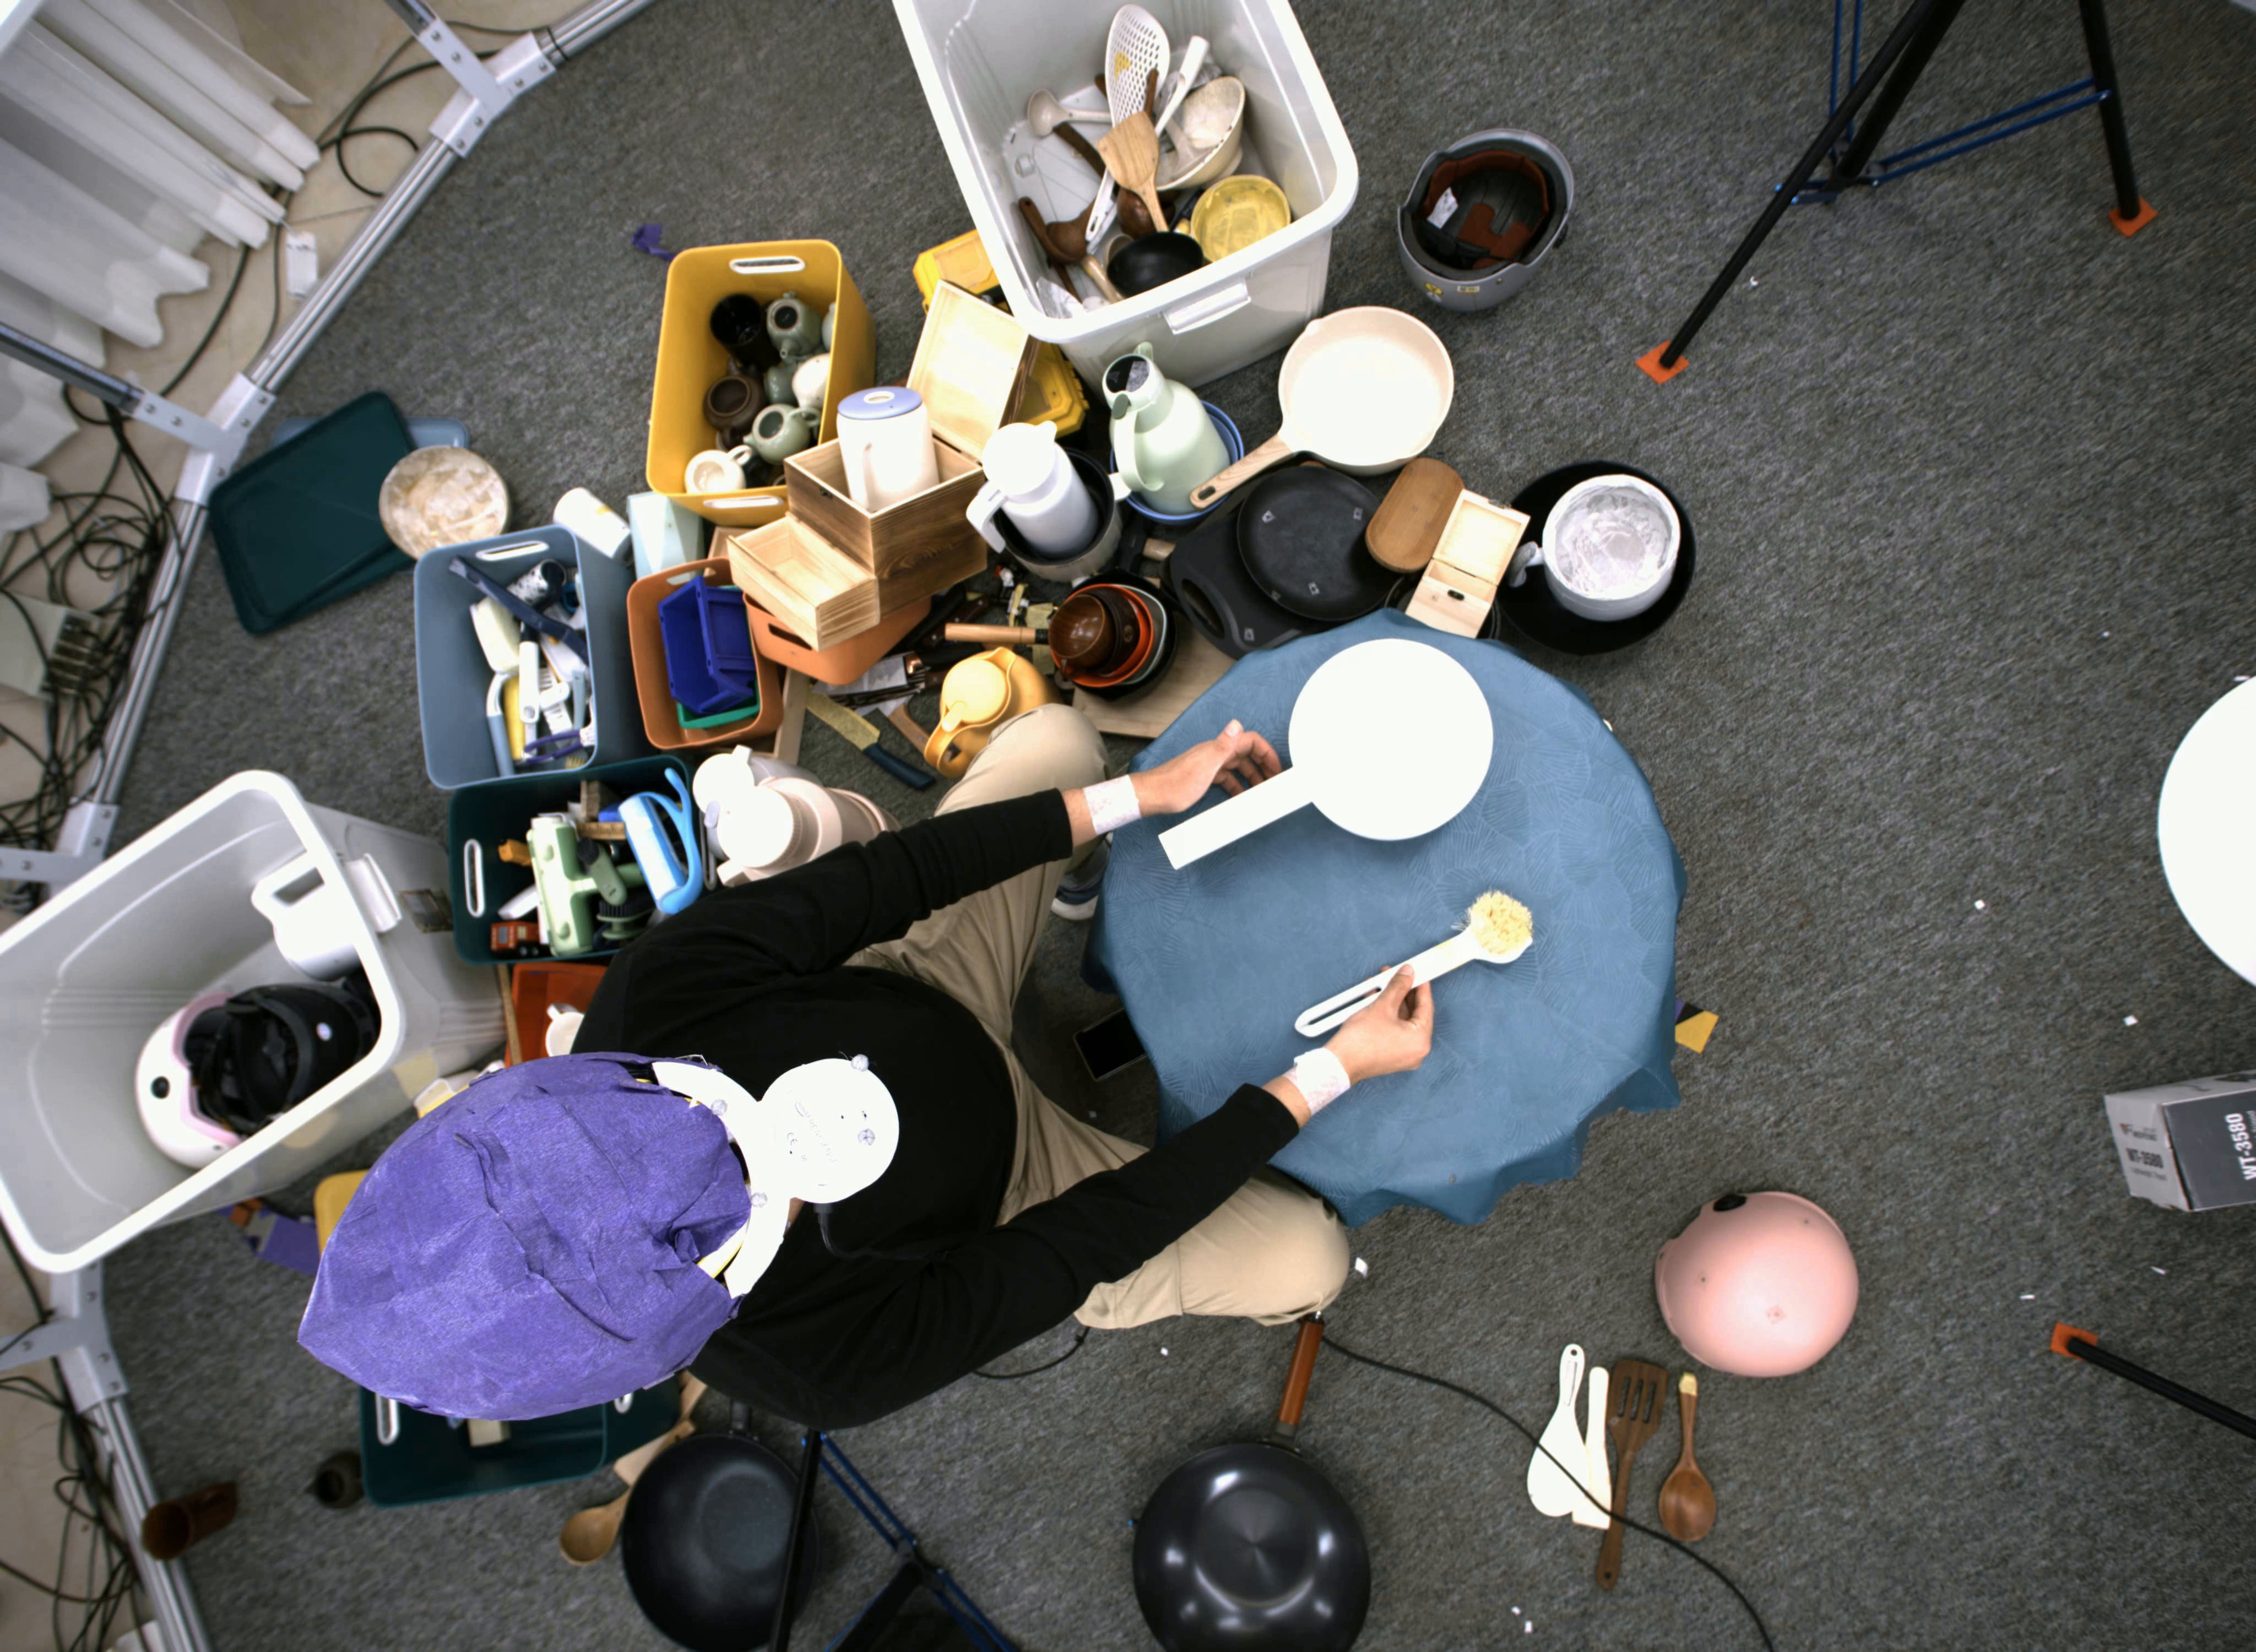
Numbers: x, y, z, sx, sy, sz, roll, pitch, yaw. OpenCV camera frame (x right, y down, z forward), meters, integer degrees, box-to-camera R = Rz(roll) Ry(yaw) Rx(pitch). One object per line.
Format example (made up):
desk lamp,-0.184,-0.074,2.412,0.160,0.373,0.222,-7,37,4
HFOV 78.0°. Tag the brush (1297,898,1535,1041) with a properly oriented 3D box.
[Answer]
brush,0.291,0.150,1.416,0.268,0.057,0.067,-24,50,8

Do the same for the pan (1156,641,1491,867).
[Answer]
pan,0.200,-0.050,1.431,0.357,0.102,0.200,-27,83,9
